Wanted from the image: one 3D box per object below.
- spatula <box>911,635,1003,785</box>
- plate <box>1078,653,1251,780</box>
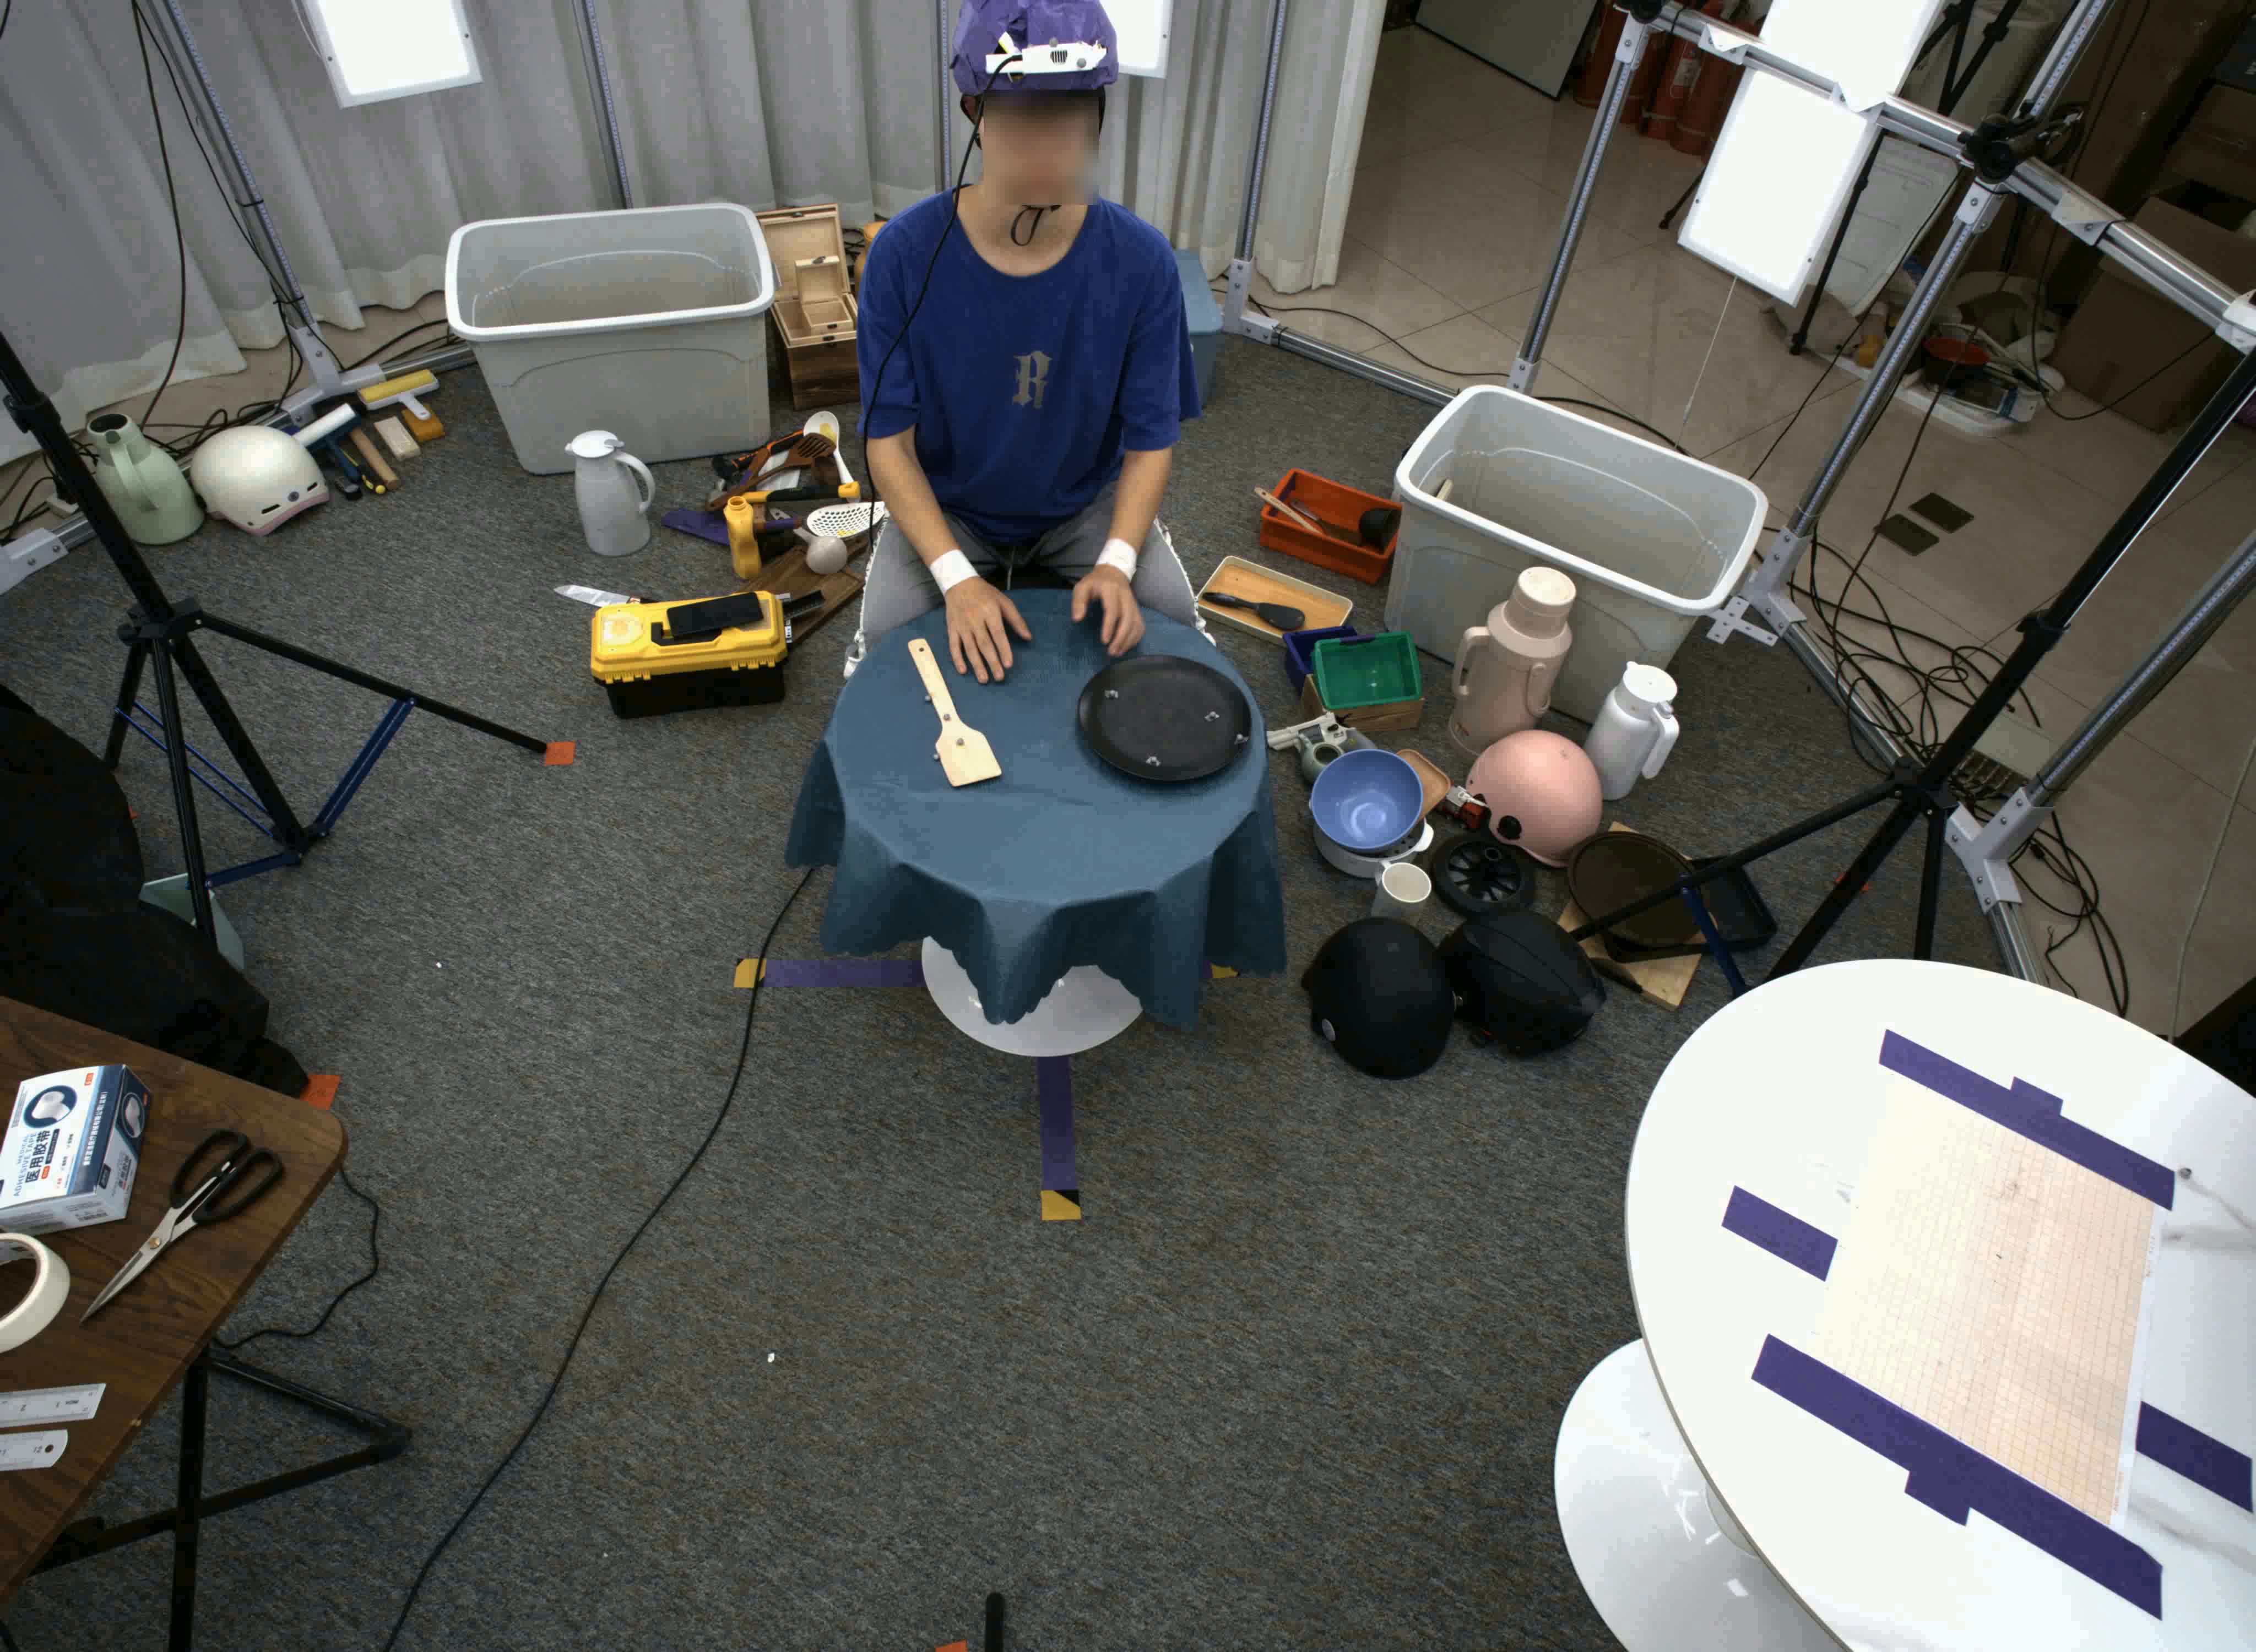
[{"bbox_3d":[-0.253,-0.168,1.796,0.072,0.010,0.300,-16,53,-14],"label":"spatula"},{"bbox_3d":[0.051,-0.151,1.791,0.244,0.023,0.250,2,50,-2],"label":"plate"}]
